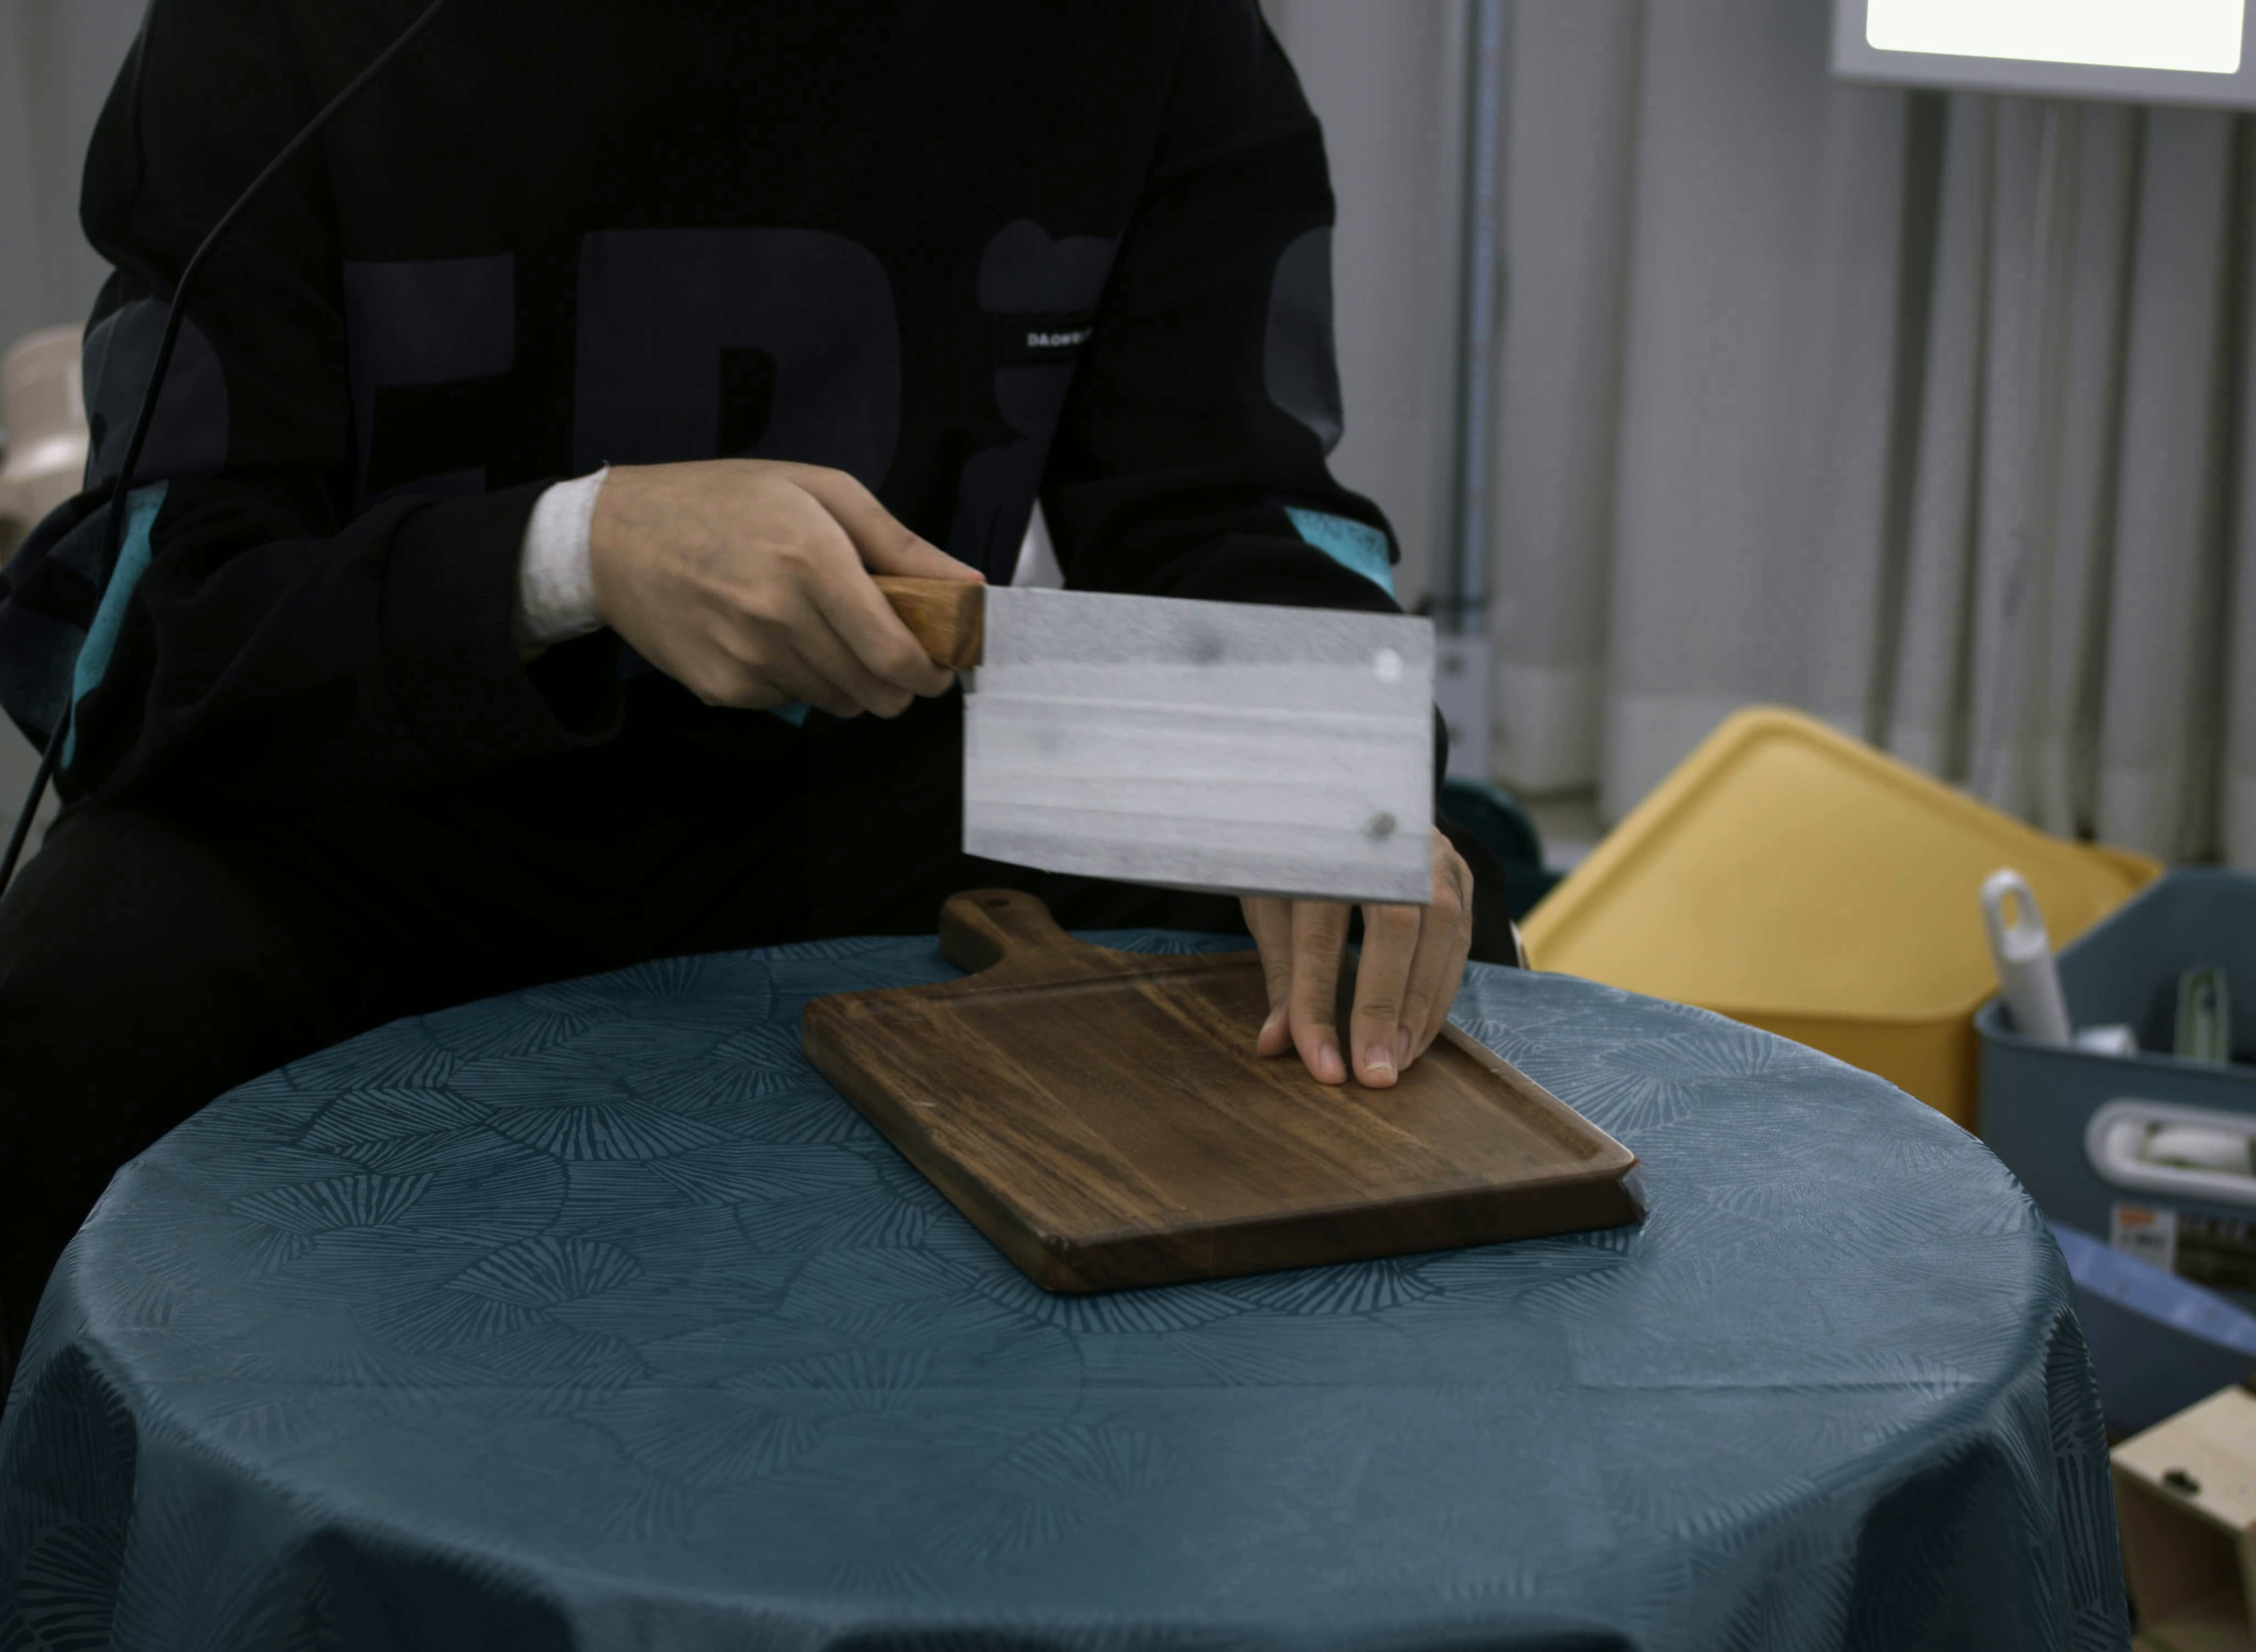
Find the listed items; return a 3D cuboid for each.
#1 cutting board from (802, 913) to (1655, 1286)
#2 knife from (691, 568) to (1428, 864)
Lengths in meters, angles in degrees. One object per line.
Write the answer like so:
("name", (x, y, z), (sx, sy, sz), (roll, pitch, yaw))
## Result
("cutting board", (0.009, 0.079, 1.715), (0.201, 0.023, 0.348), (-4, 14, -20))
("knife", (-0.027, -0.035, 1.689), (0.302, 0.093, 0.021), (6, 10, 39))
